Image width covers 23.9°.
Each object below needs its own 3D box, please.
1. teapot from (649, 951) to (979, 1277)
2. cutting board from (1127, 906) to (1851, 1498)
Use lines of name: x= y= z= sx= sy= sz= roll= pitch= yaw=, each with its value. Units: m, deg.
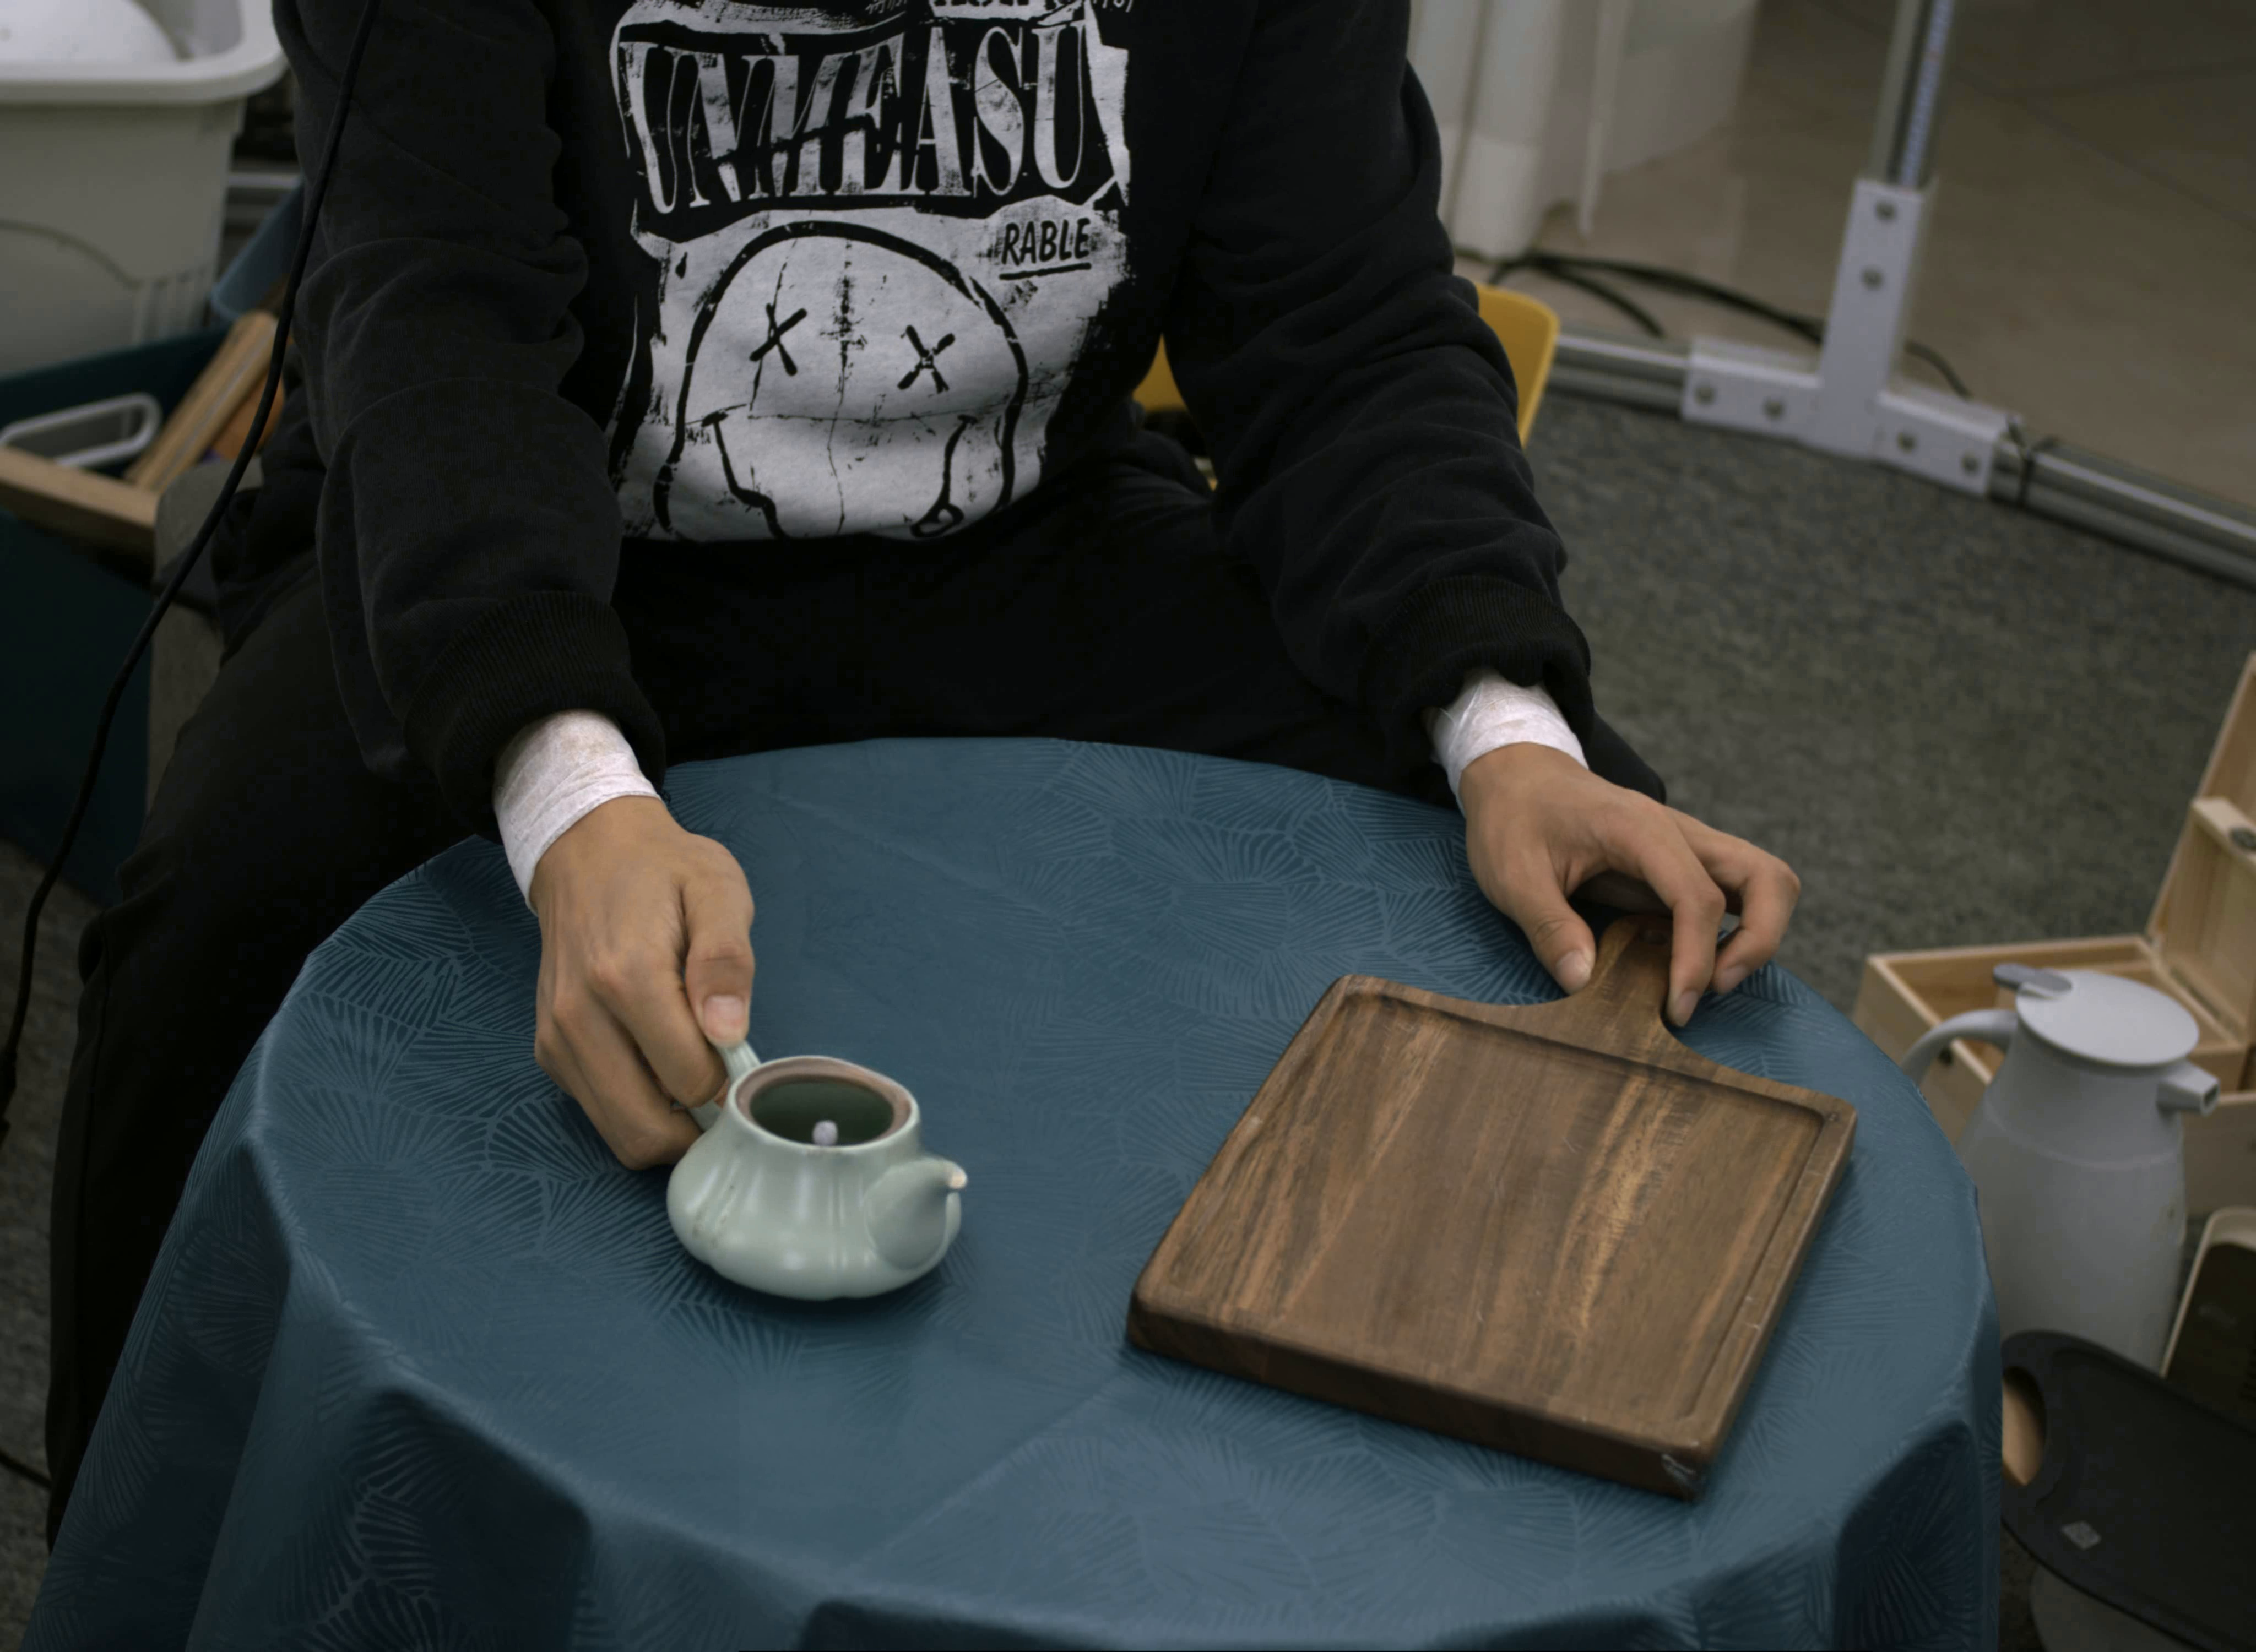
teapot: x=-0.109 y=0.099 z=1.729 sx=0.138 sy=0.061 sz=0.095 roll=44 pitch=17 yaw=29
cutting board: x=0.142 y=0.112 z=1.837 sx=0.201 sy=0.023 sz=0.353 roll=14 pitch=28 yaw=13
